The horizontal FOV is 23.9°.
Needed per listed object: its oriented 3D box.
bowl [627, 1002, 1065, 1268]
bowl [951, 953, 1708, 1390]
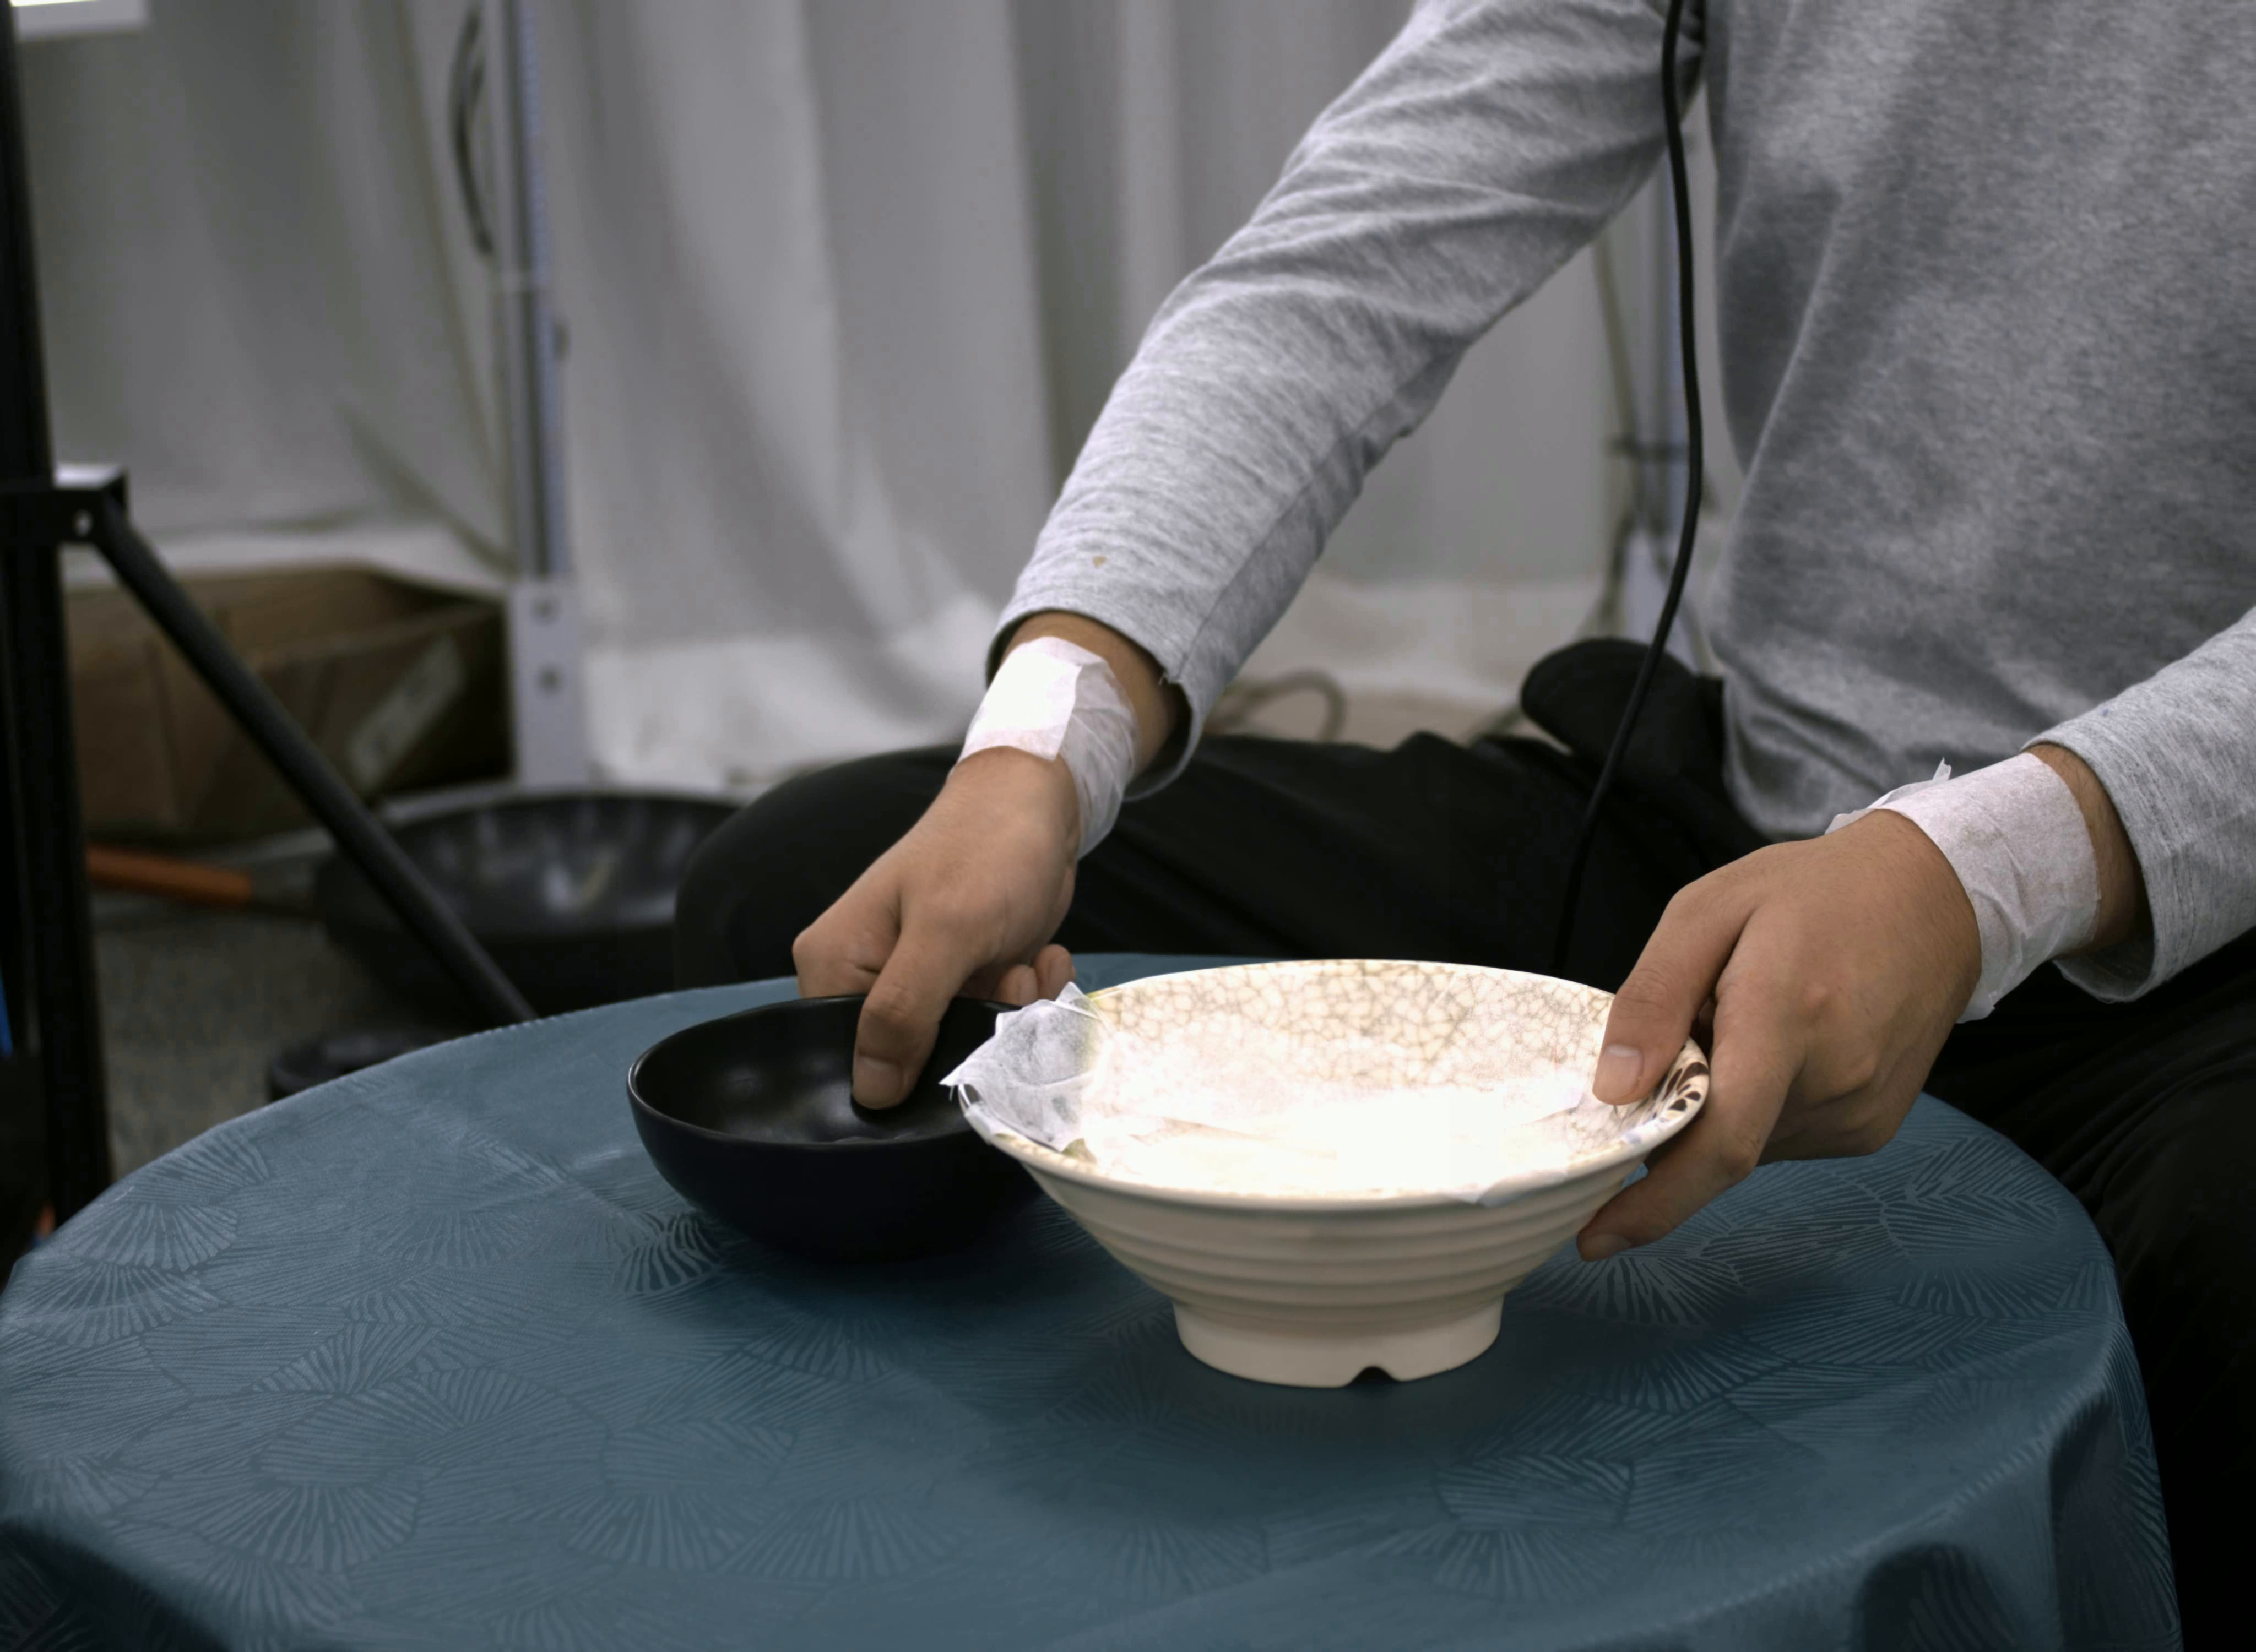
[{"bbox_3d":[-0.075,0.094,1.542,0.139,0.050,0.141,0,15,-1],"label":"bowl"},{"bbox_3d":[0.054,0.101,1.435,0.203,0.078,0.205,-2,15,-1],"label":"bowl"}]
